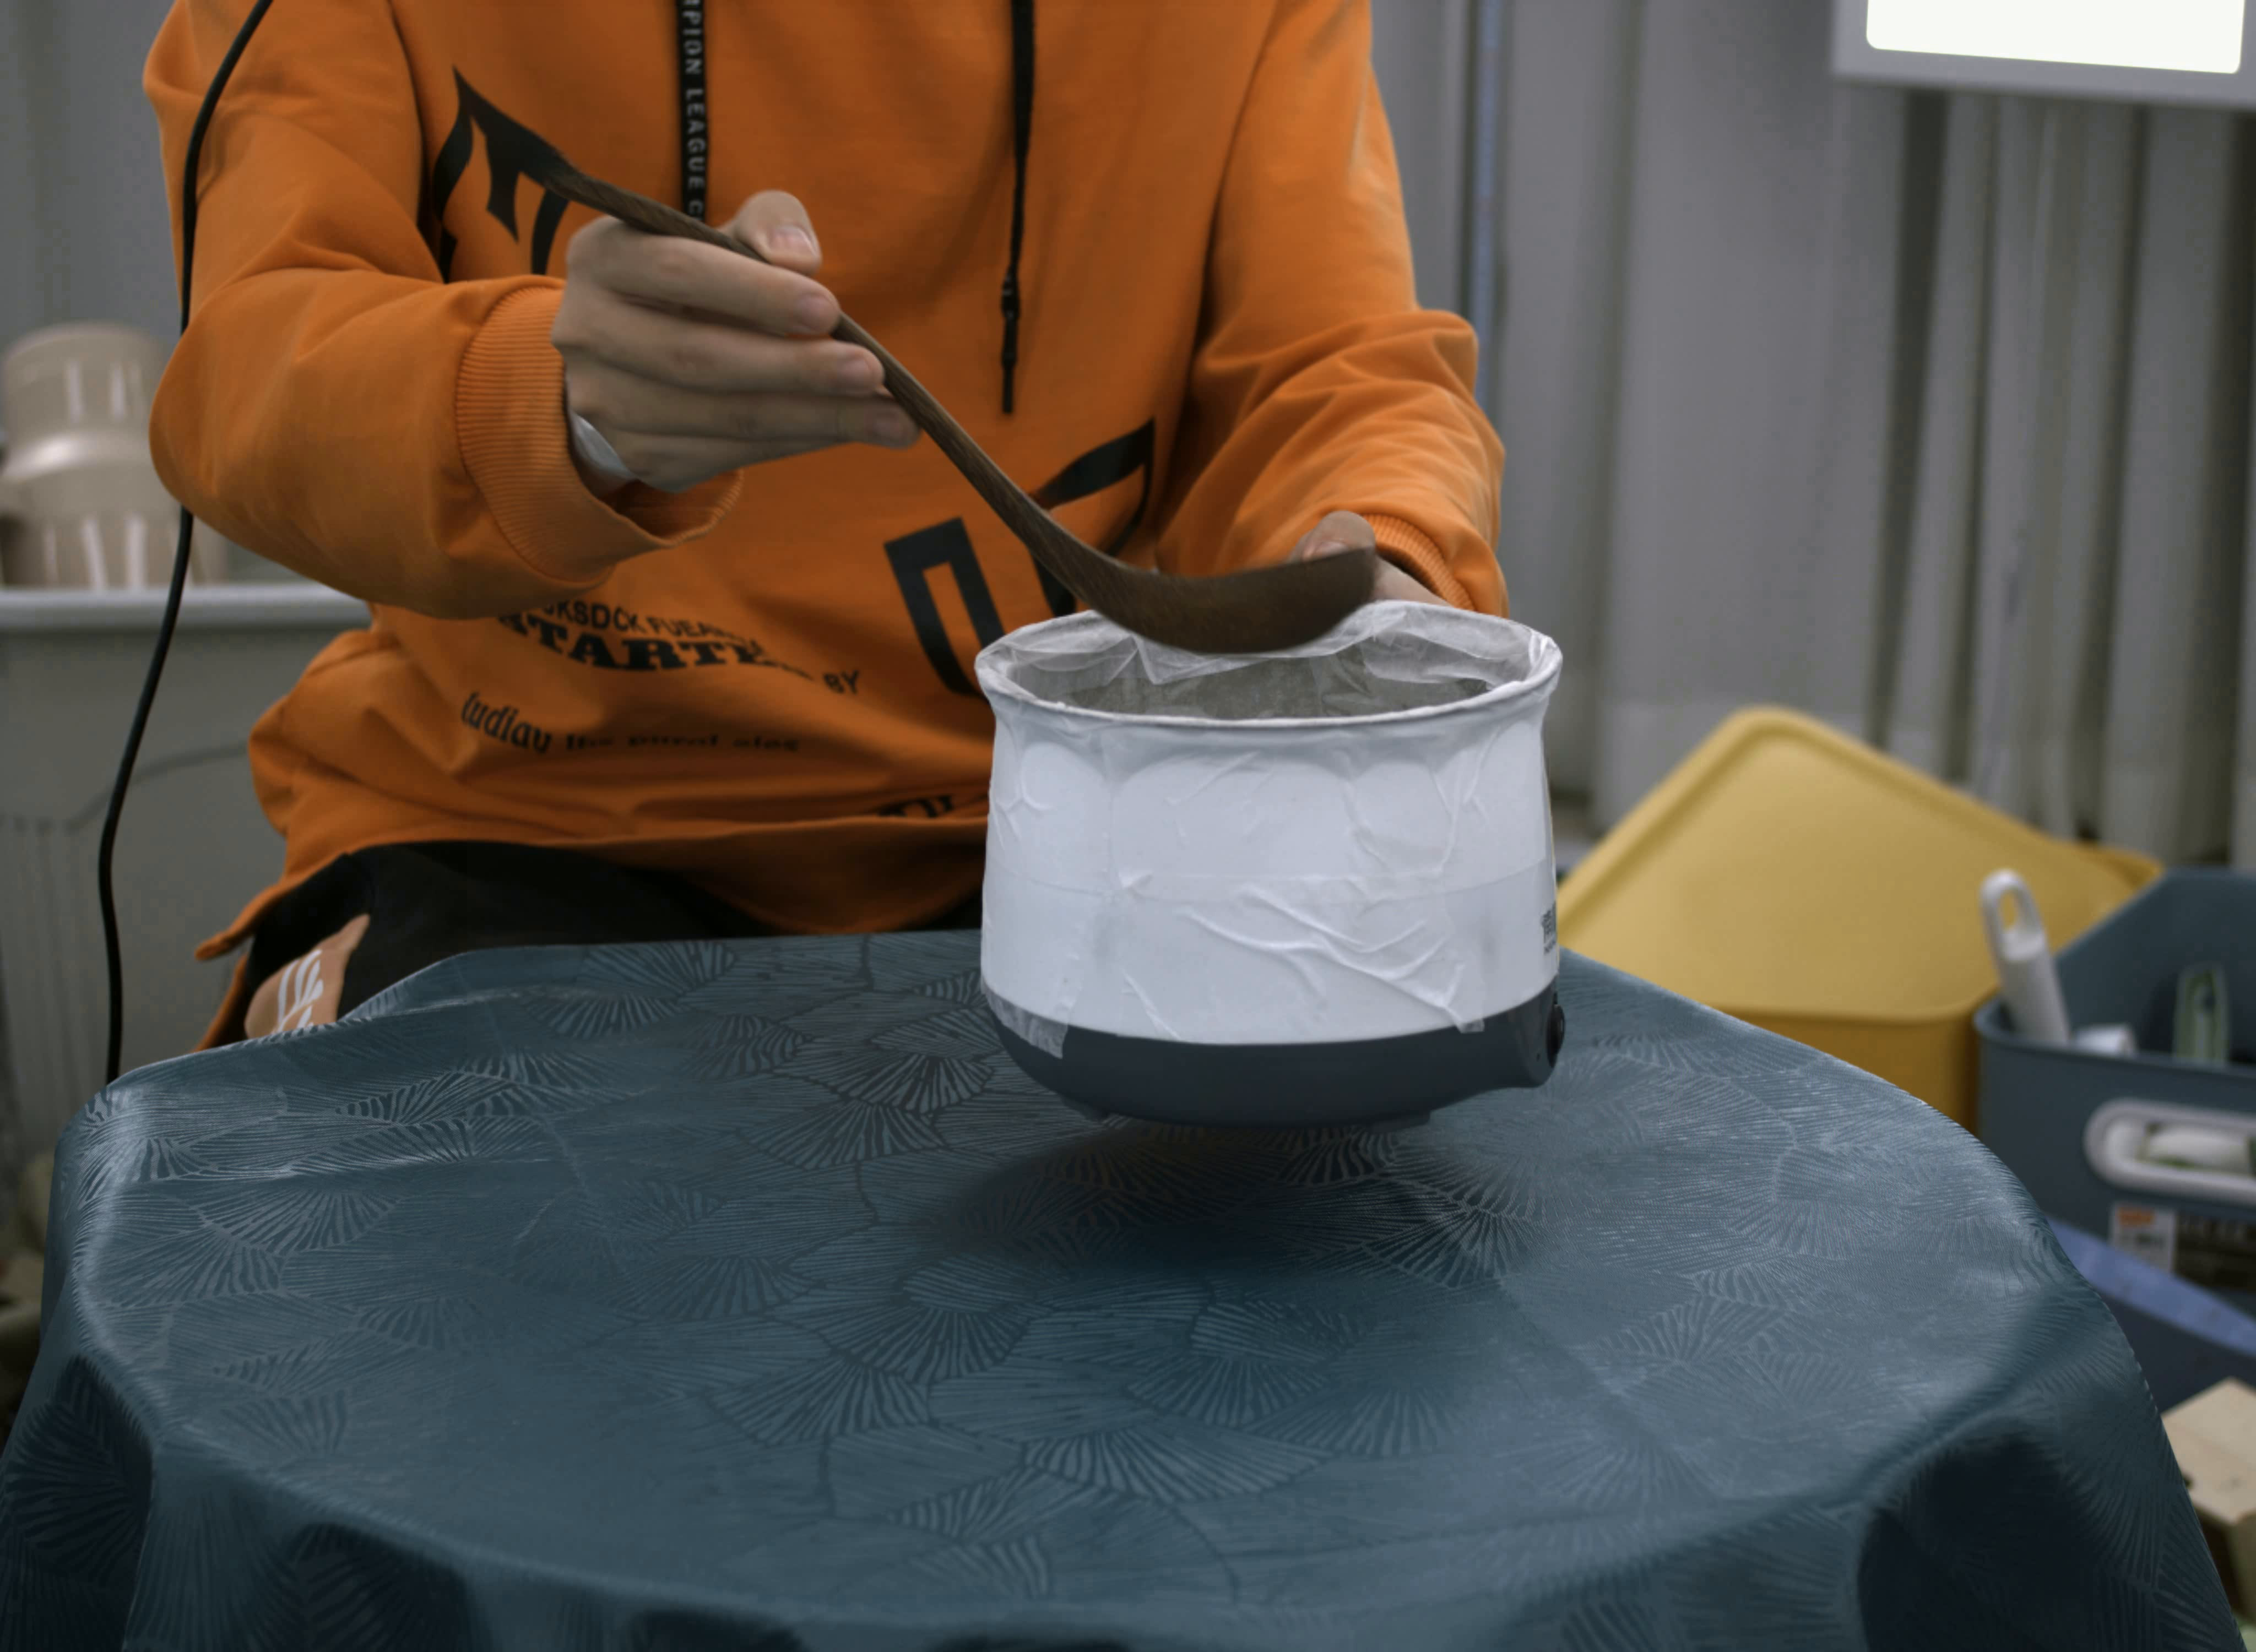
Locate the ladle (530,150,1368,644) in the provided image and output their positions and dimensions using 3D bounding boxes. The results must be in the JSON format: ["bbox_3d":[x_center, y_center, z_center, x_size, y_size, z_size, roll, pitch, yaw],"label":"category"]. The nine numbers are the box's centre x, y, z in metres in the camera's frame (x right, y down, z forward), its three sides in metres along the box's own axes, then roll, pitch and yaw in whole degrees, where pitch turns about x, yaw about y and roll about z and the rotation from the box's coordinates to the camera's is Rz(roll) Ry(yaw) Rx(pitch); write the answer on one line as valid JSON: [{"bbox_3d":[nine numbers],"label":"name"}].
[{"bbox_3d":[-0.051,-0.143,1.583,0.274,0.071,0.076,38,-1,-3],"label":"ladle"}]

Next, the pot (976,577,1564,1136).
[{"bbox_3d":[0.048,0.003,1.621,0.177,0.138,0.233,2,15,11],"label":"pot"}]
